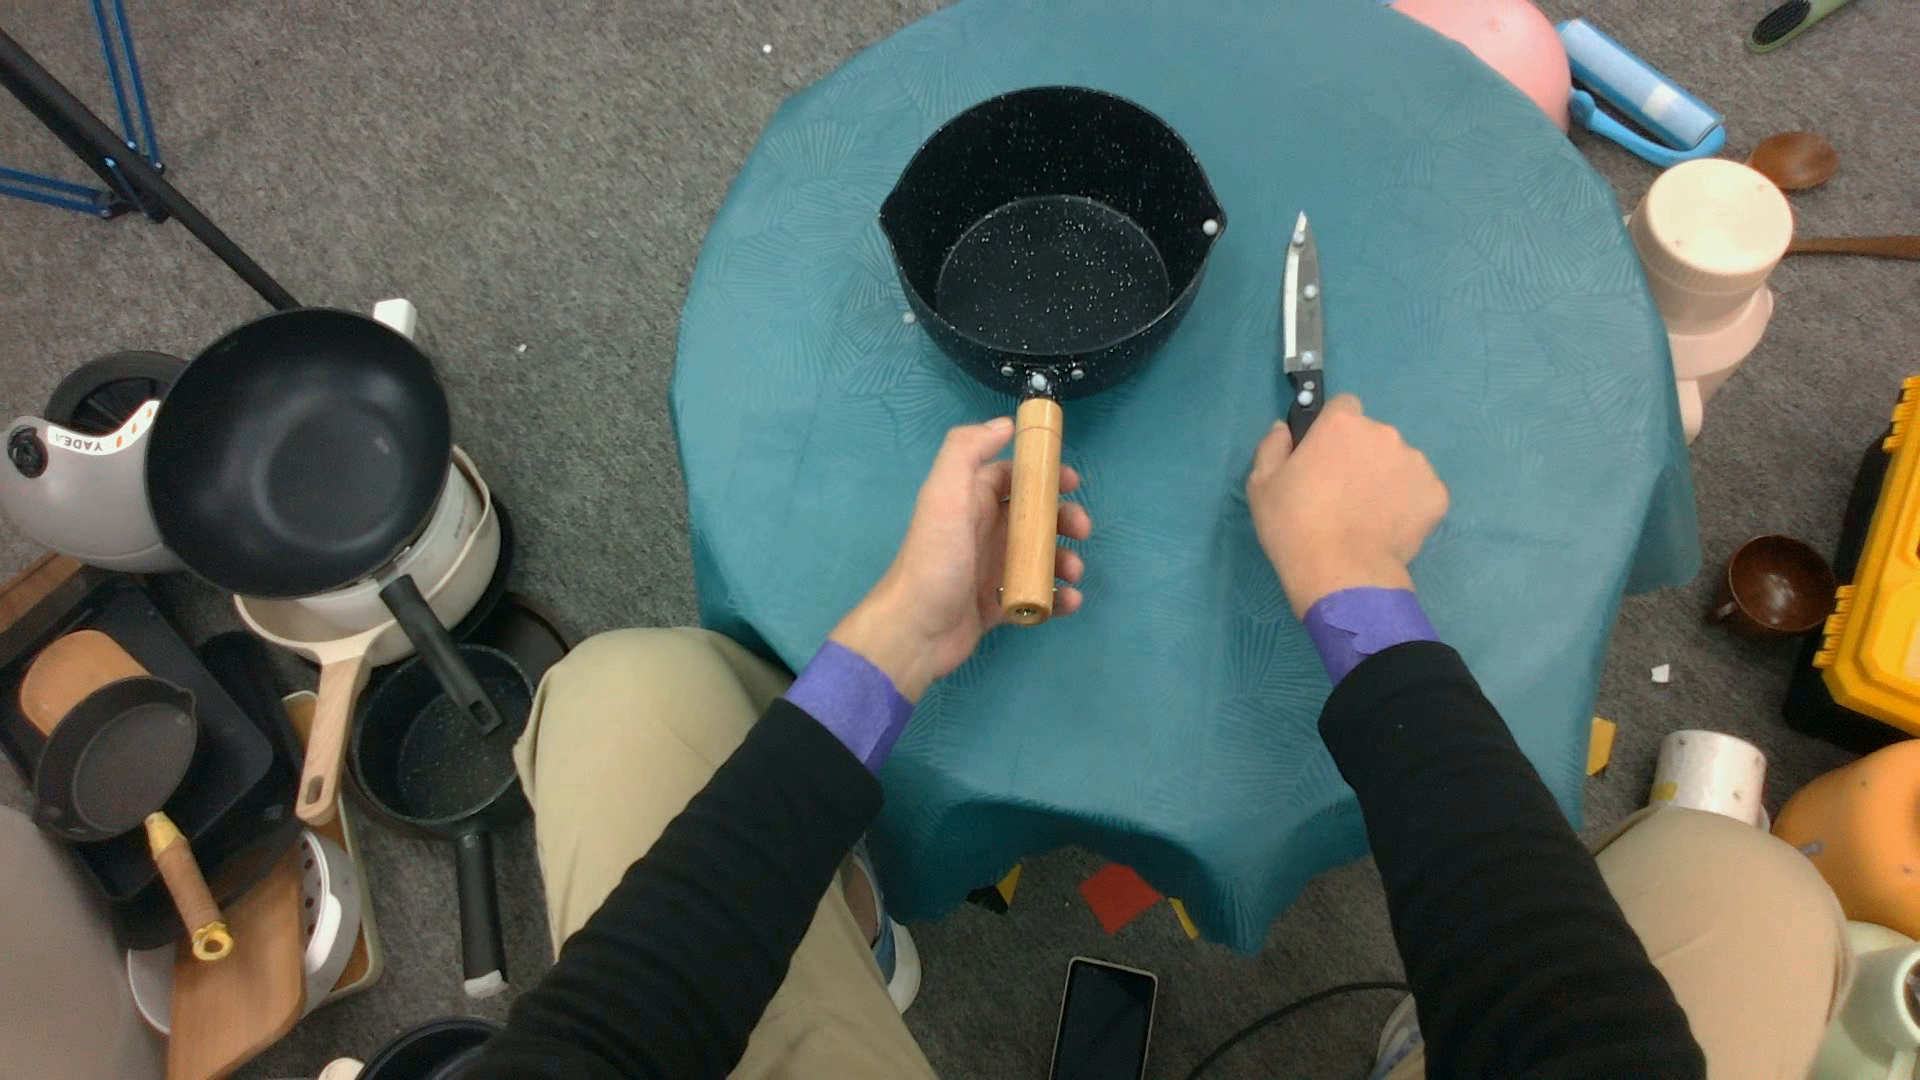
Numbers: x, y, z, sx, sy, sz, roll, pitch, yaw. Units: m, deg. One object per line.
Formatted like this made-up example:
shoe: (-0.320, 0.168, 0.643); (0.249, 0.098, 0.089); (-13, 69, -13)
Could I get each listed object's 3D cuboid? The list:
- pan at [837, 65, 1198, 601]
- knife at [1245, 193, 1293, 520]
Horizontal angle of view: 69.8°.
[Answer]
pan: (0.030, -0.113, 0.784); (0.207, 0.108, 0.344); (1, 66, 3)
knife: (0.184, -0.118, 0.820); (0.024, 0.016, 0.239); (-5, 60, 16)
